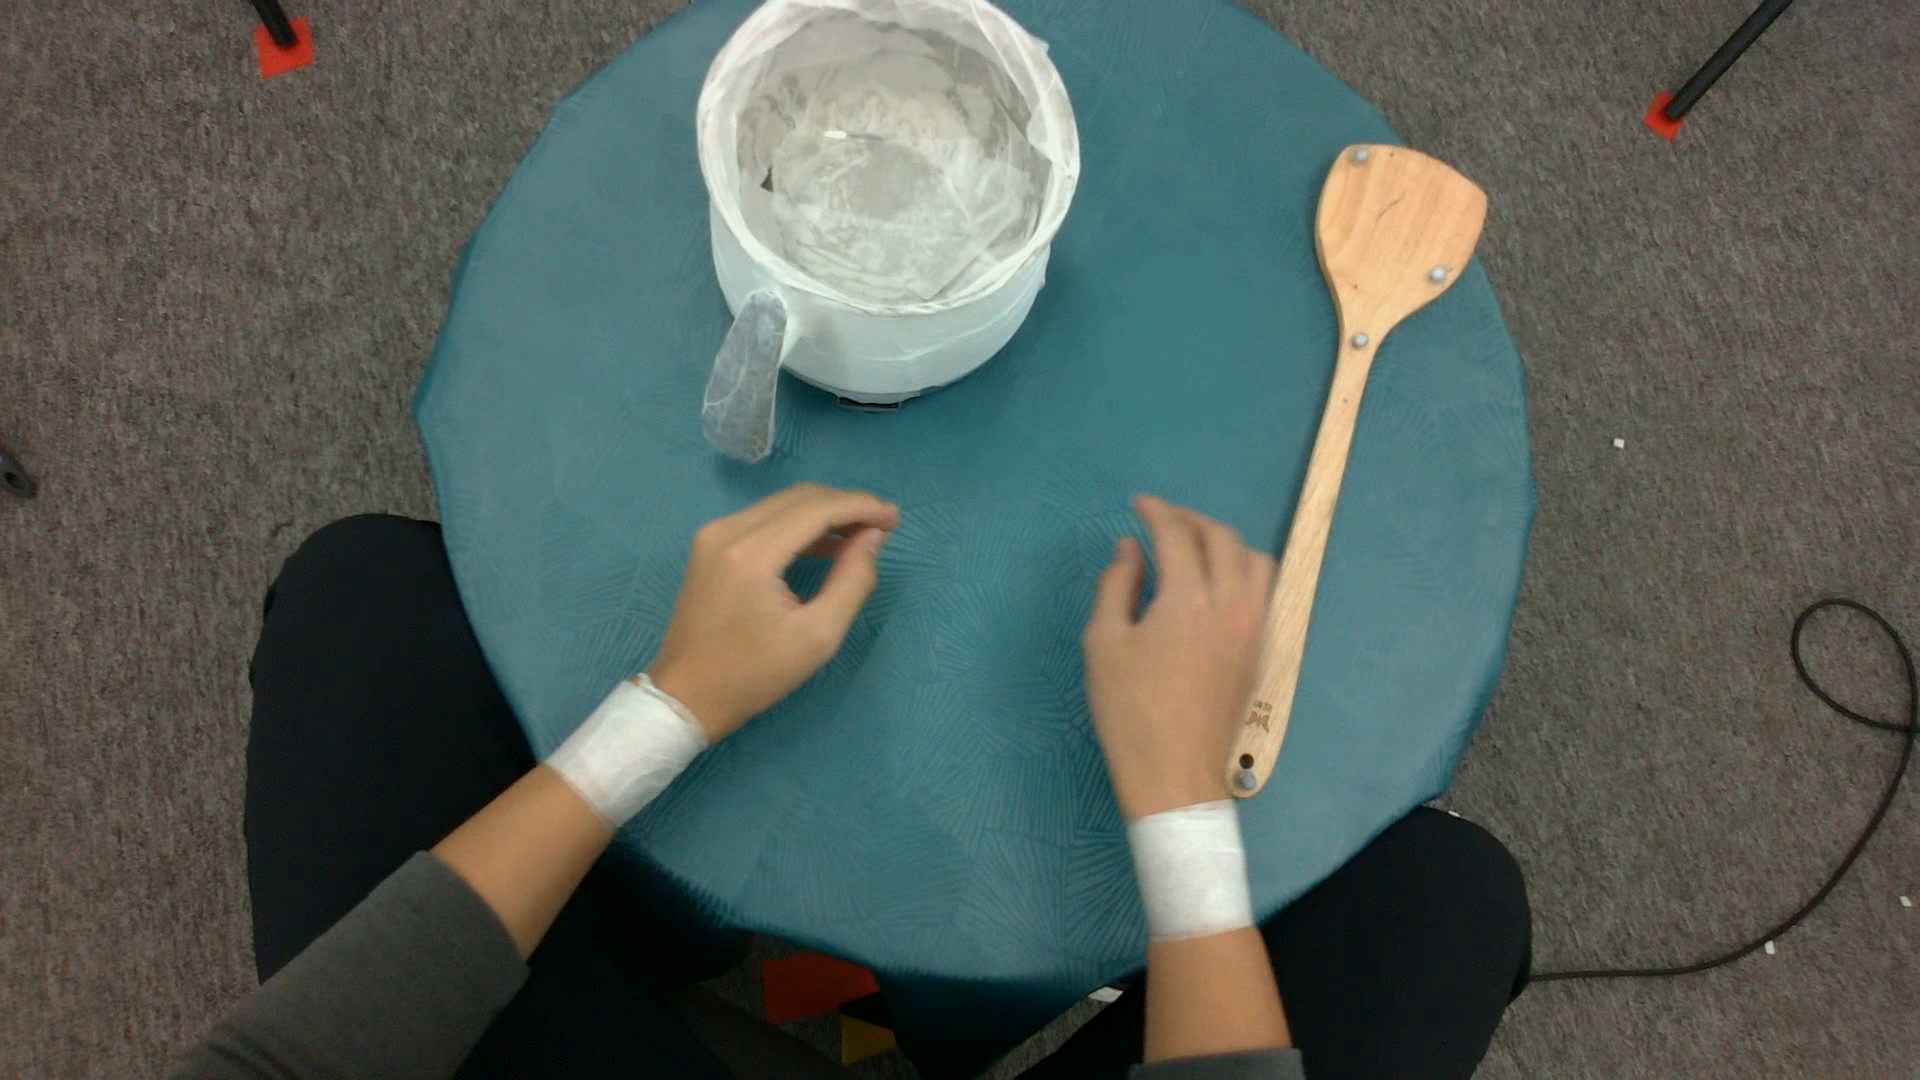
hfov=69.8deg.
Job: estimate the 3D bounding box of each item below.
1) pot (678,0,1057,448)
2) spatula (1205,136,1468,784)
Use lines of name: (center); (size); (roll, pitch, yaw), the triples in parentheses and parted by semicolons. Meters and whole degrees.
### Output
pot: (-0.063, -0.155, 0.692); (0.179, 0.136, 0.234); (31, 74, 2)
spatula: (0.199, -0.053, 0.759); (0.096, 0.018, 0.392); (18, 73, 0)
